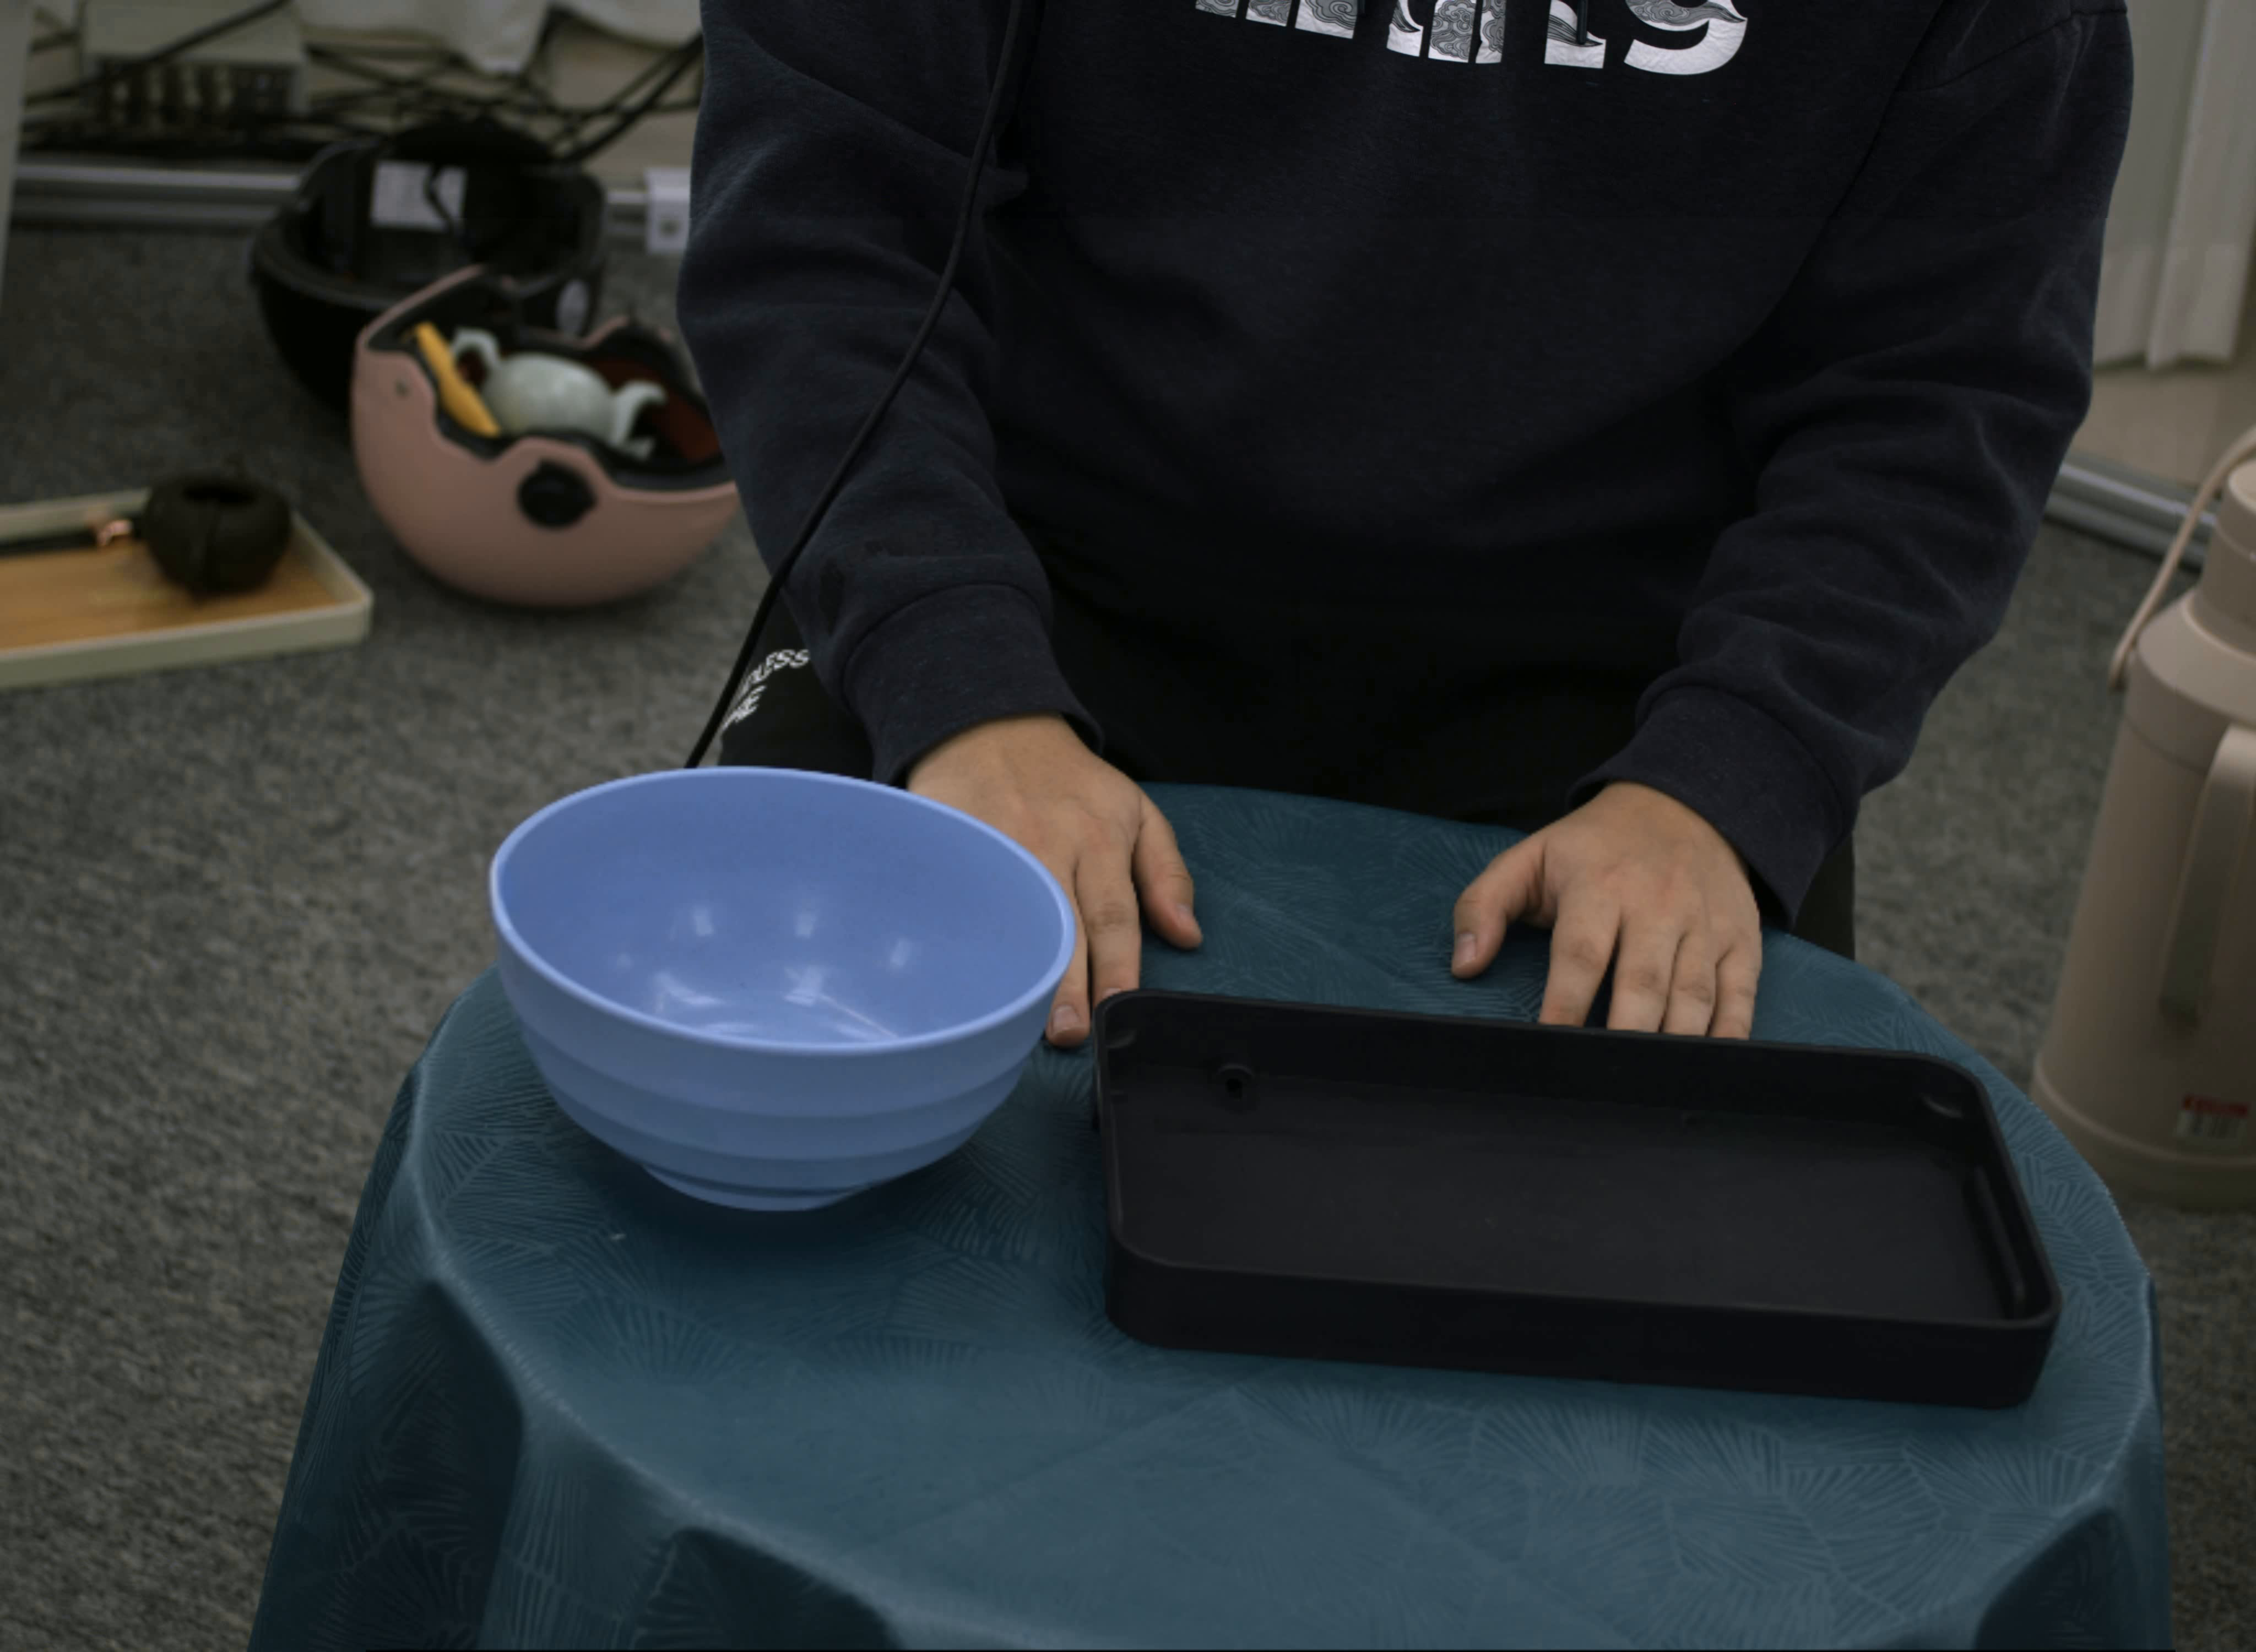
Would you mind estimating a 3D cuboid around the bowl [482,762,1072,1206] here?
[{"bbox_3d":[-0.120,0.064,1.786,0.196,0.095,0.198,4,28,-2],"label":"bowl"}]

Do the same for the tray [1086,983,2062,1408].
[{"bbox_3d":[0.144,0.123,1.799,0.317,0.037,0.185,5,27,-4],"label":"tray"}]
